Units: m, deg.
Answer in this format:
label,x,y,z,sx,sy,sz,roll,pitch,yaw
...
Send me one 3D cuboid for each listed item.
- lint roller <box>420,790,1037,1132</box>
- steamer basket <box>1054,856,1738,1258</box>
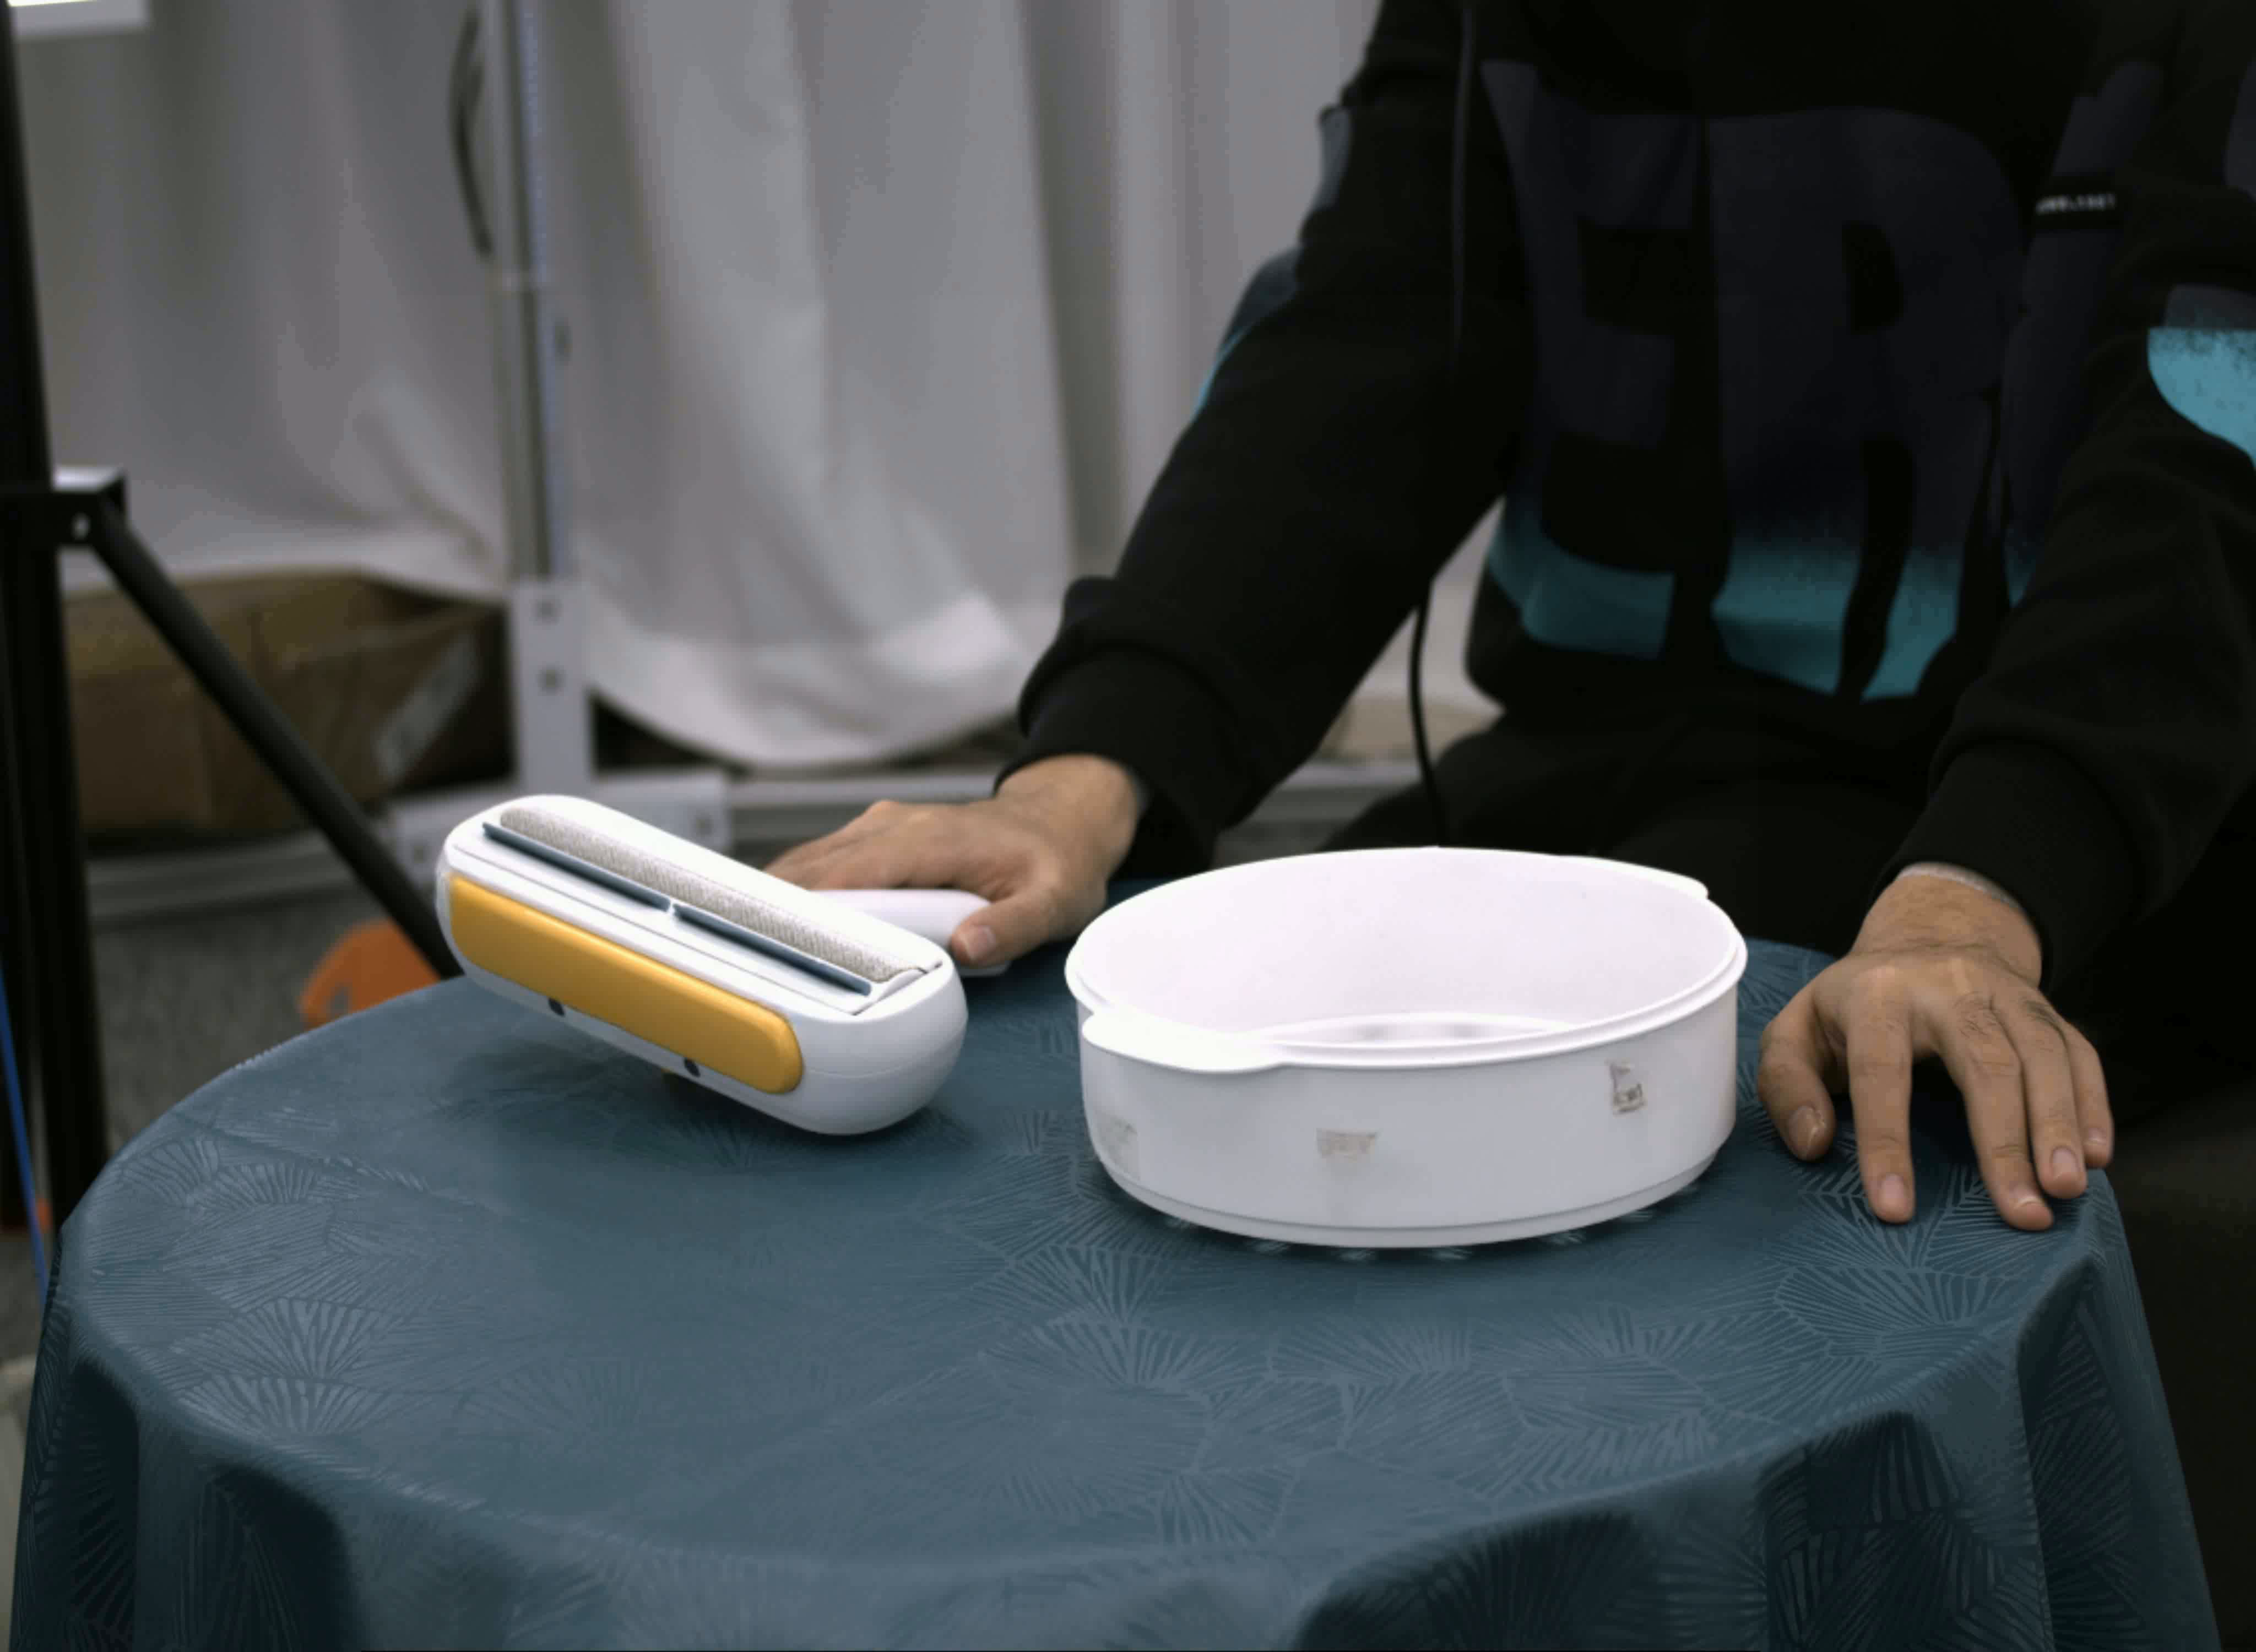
label,x,y,z,sx,sy,sz,roll,pitch,yaw
lint roller,-0.102,0.035,1.709,0.197,0.074,0.188,18,24,40
steamer basket,0.078,0.068,1.564,0.206,0.069,0.225,14,22,43
